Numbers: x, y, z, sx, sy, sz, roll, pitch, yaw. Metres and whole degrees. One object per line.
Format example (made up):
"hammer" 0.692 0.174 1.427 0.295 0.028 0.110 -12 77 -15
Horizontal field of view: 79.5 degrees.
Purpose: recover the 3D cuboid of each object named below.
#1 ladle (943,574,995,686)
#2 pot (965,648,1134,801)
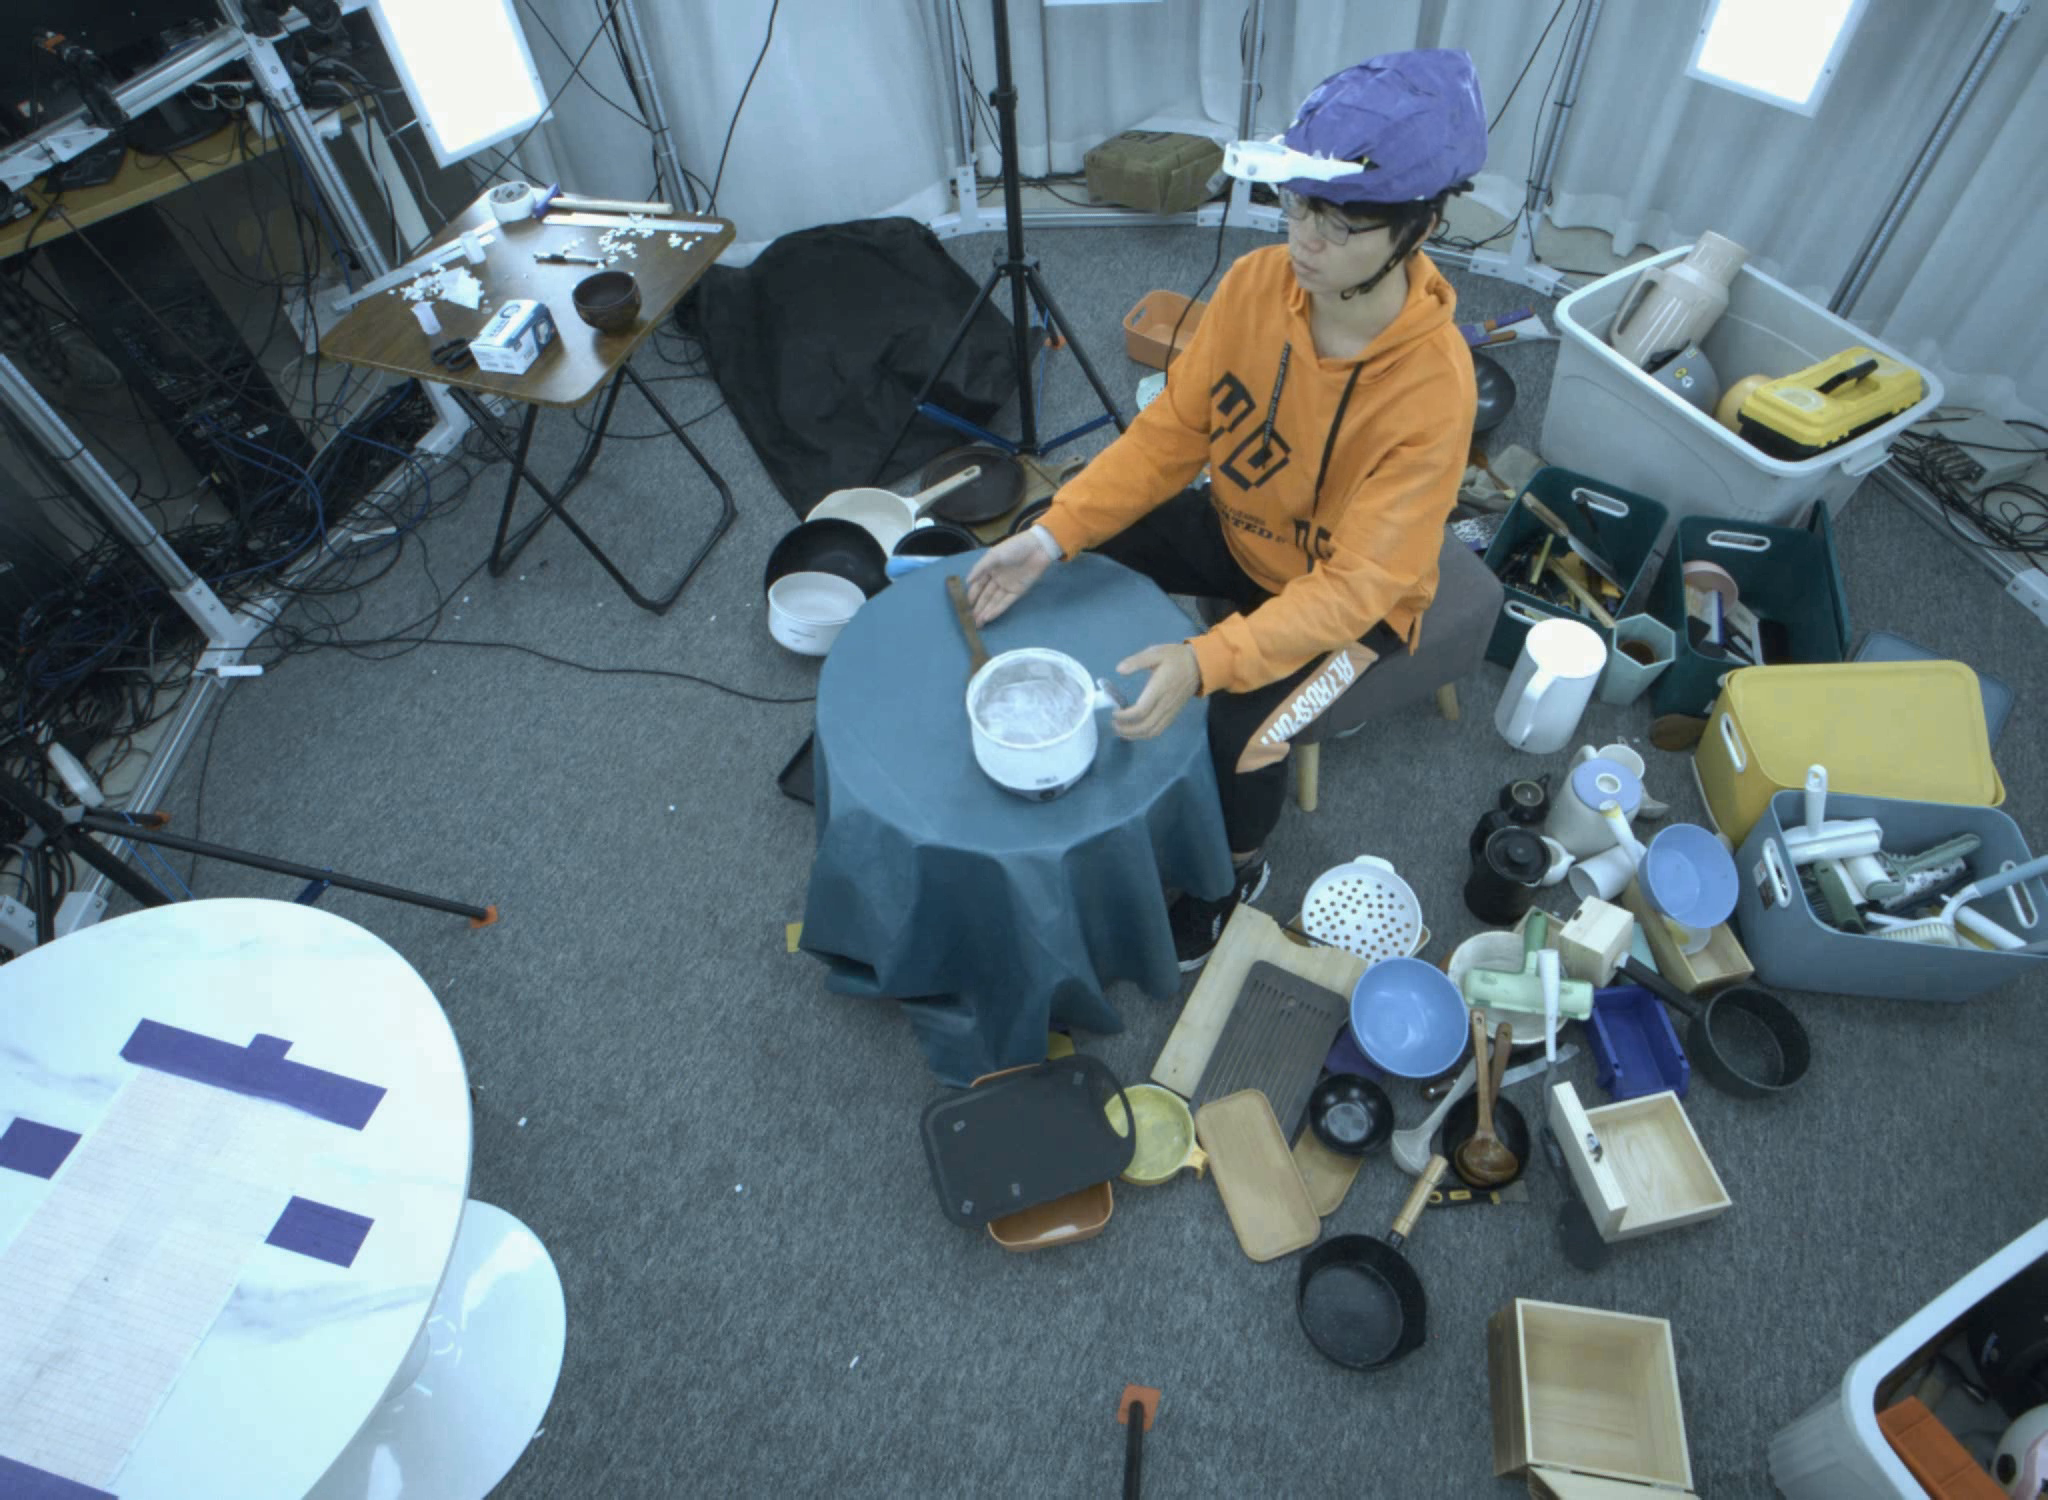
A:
"ladle" -0.085 -0.197 1.886 0.076 0.072 0.269 -13 56 -10
"pot" 0.039 -0.041 1.730 0.235 0.138 0.176 -12 55 -6
